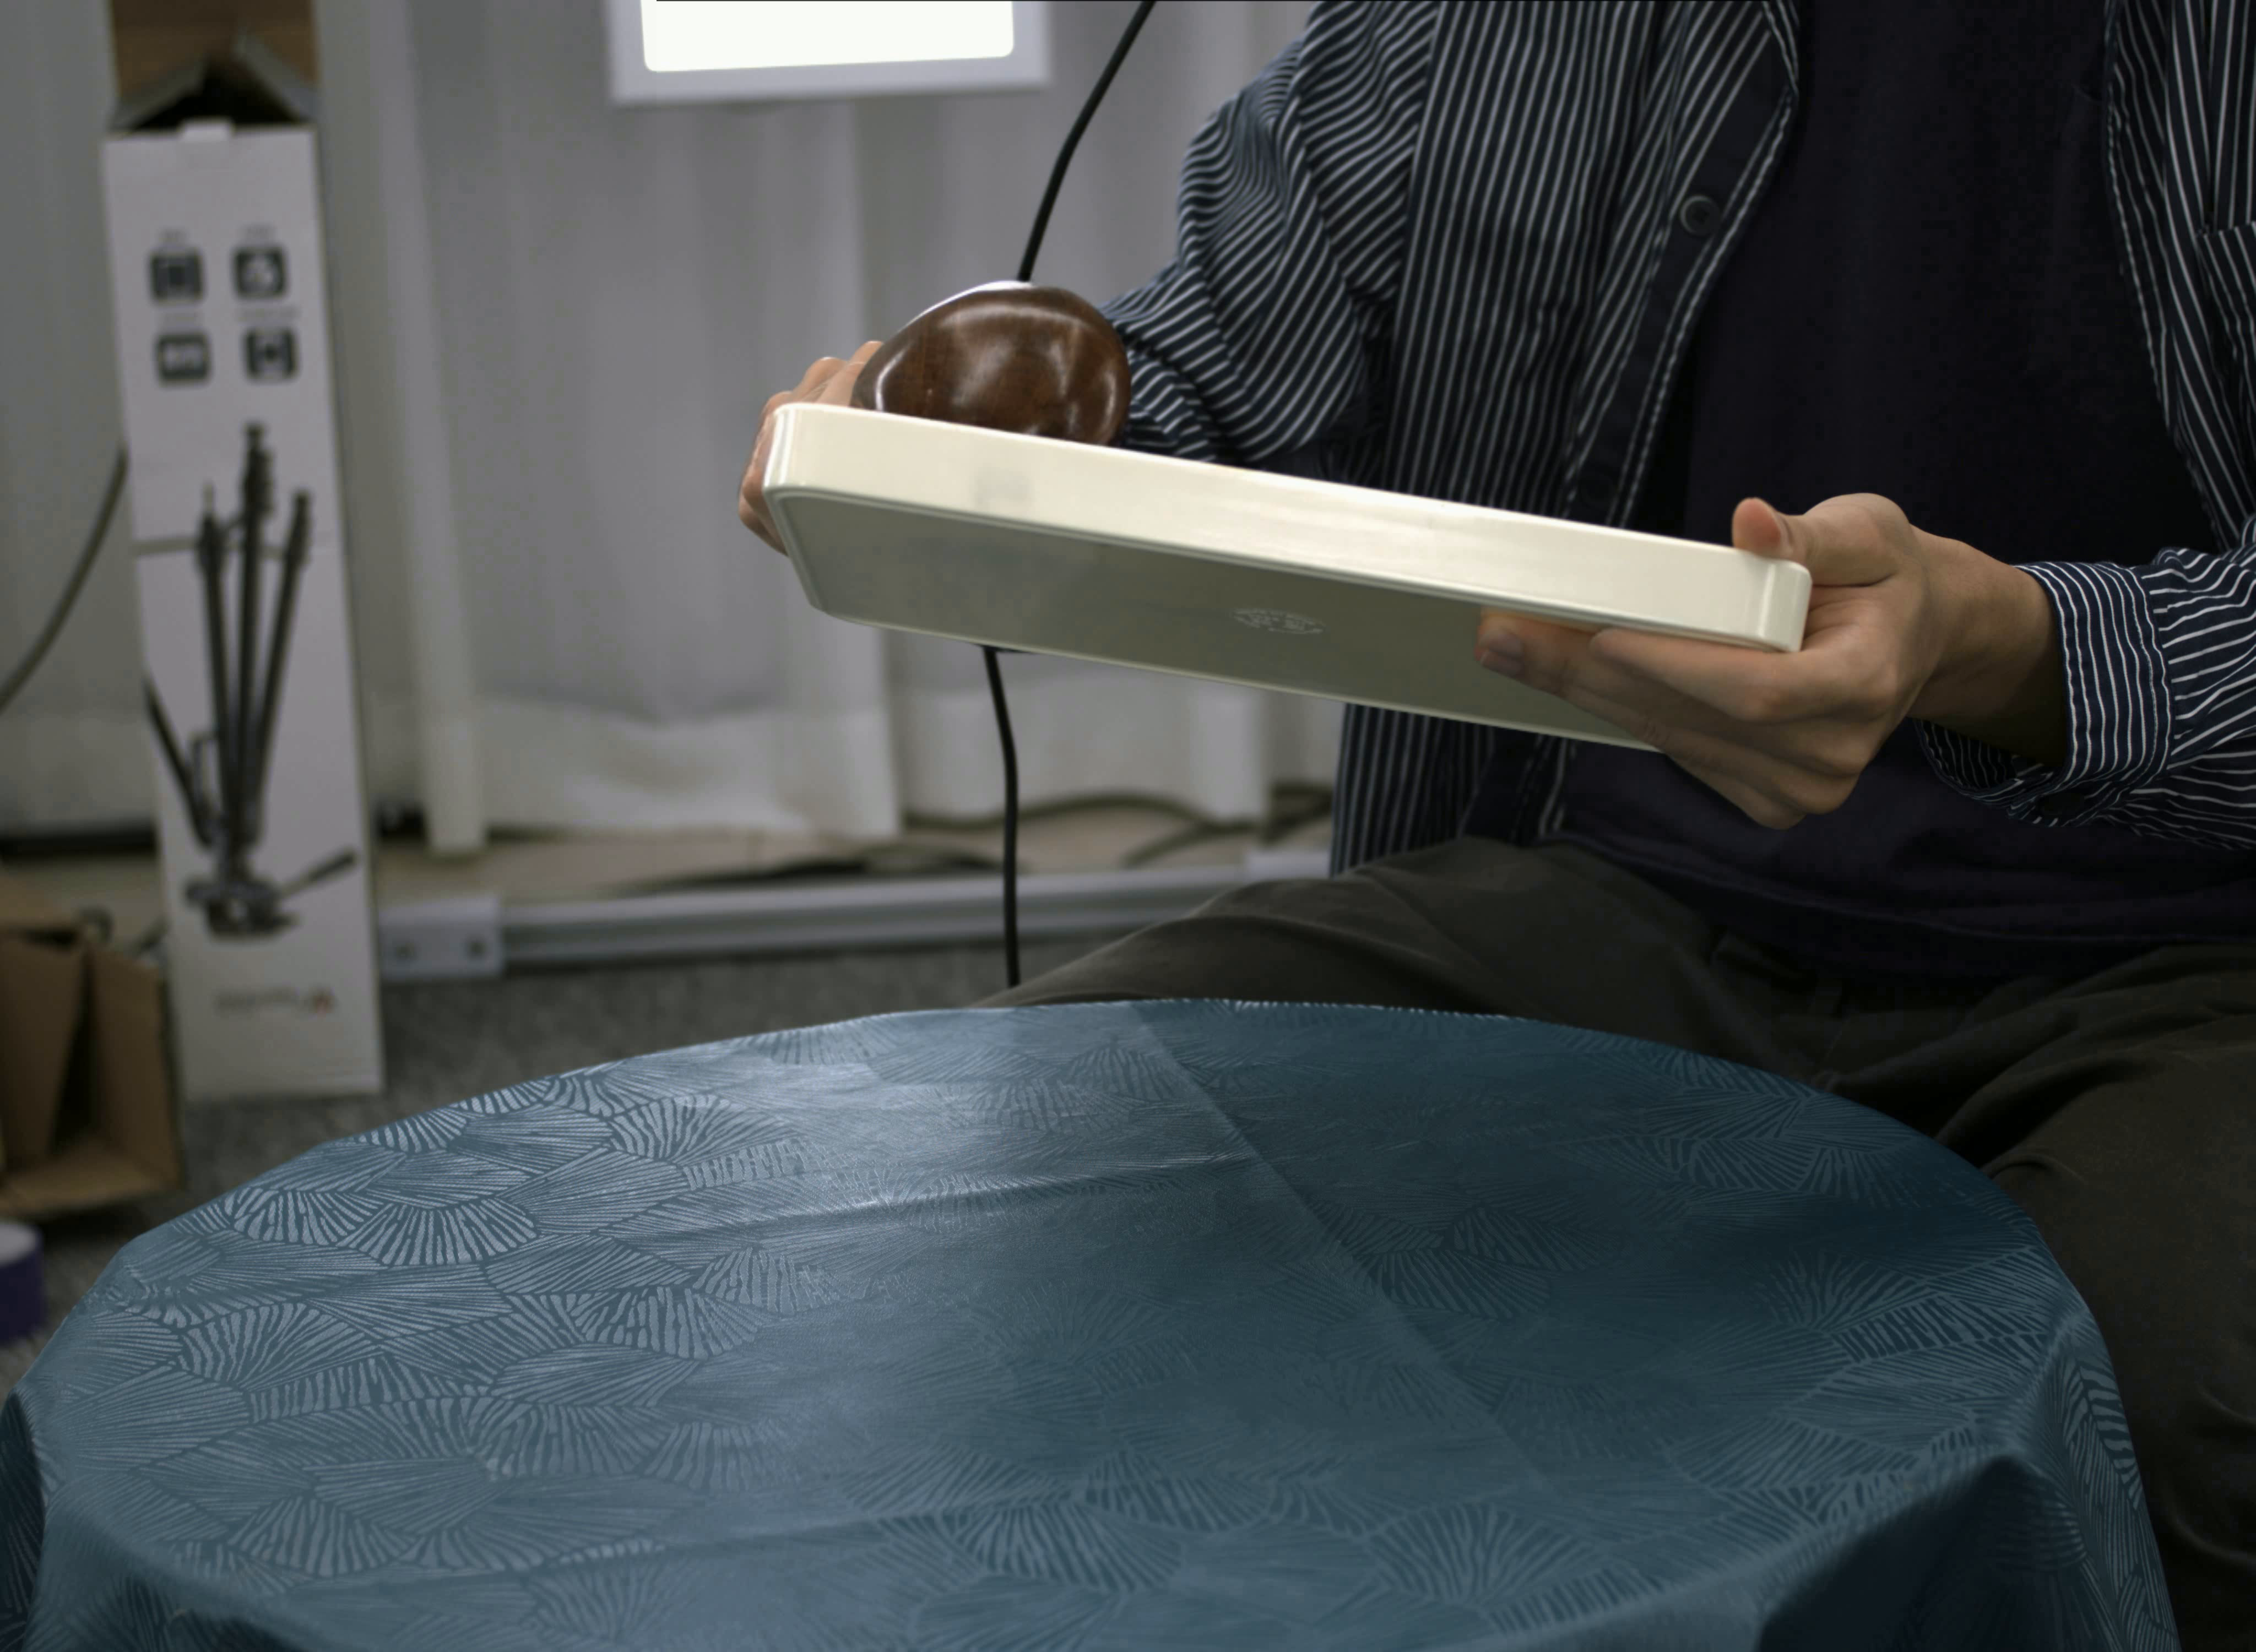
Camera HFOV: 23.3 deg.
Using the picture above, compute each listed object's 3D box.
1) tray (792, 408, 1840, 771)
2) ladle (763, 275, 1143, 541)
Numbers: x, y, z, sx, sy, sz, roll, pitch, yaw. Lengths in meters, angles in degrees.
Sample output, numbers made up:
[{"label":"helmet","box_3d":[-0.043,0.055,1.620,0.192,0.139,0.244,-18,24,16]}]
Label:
[{"label":"tray","box_3d":[0.055,-0.067,1.629,0.299,0.027,0.190,9,-10,5]},{"label":"ladle","box_3d":[-0.058,-0.111,1.708,0.076,0.082,0.273,38,-15,-3]}]
